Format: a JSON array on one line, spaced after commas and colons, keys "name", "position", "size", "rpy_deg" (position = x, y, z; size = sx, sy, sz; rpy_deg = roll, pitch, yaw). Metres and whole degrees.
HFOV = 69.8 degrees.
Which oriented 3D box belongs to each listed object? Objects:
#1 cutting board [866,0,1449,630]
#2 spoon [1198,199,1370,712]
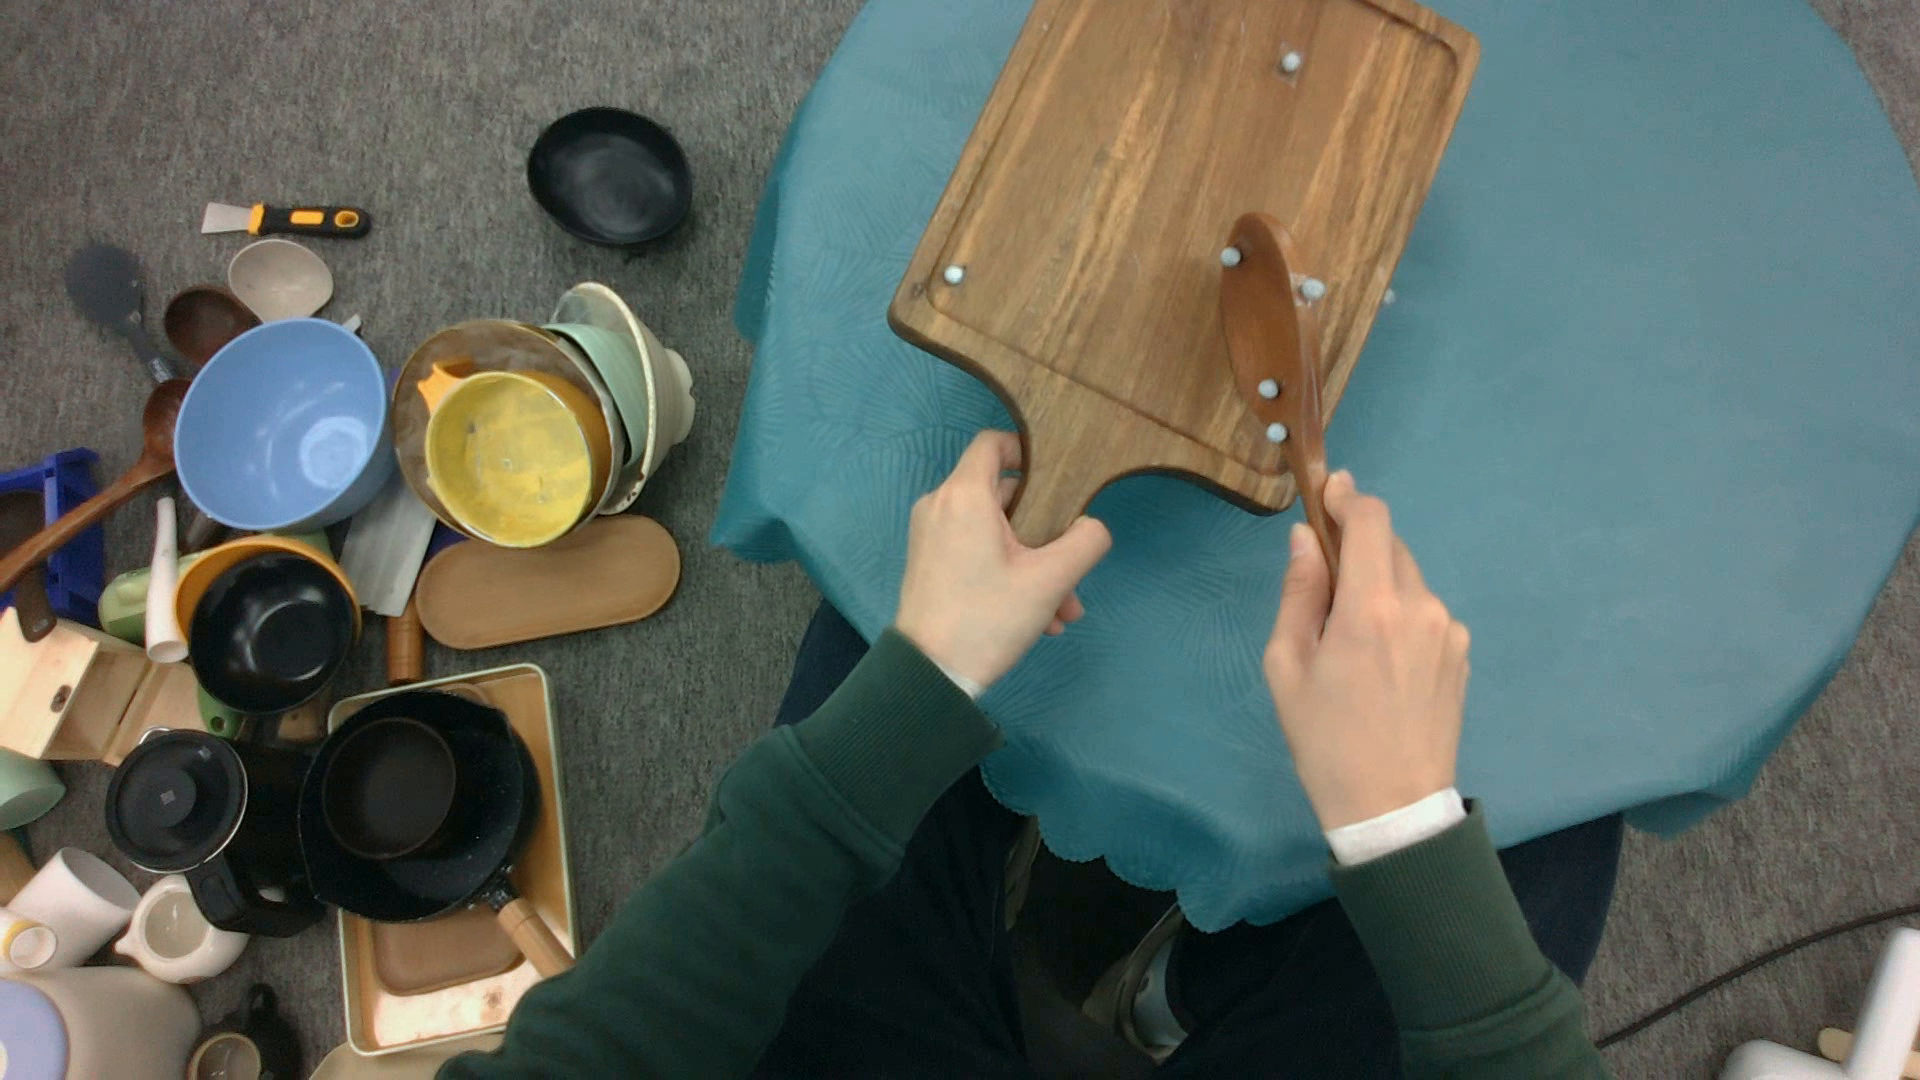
[{"name": "cutting board", "position": [0.076, -0.123, 0.609], "size": [0.201, 0.023, 0.353], "rpy_deg": [26, 79, -8]}, {"name": "spoon", "position": [0.132, -0.037, 0.553], "size": [0.017, 0.075, 0.216], "rpy_deg": [-5, 73, -15]}]
